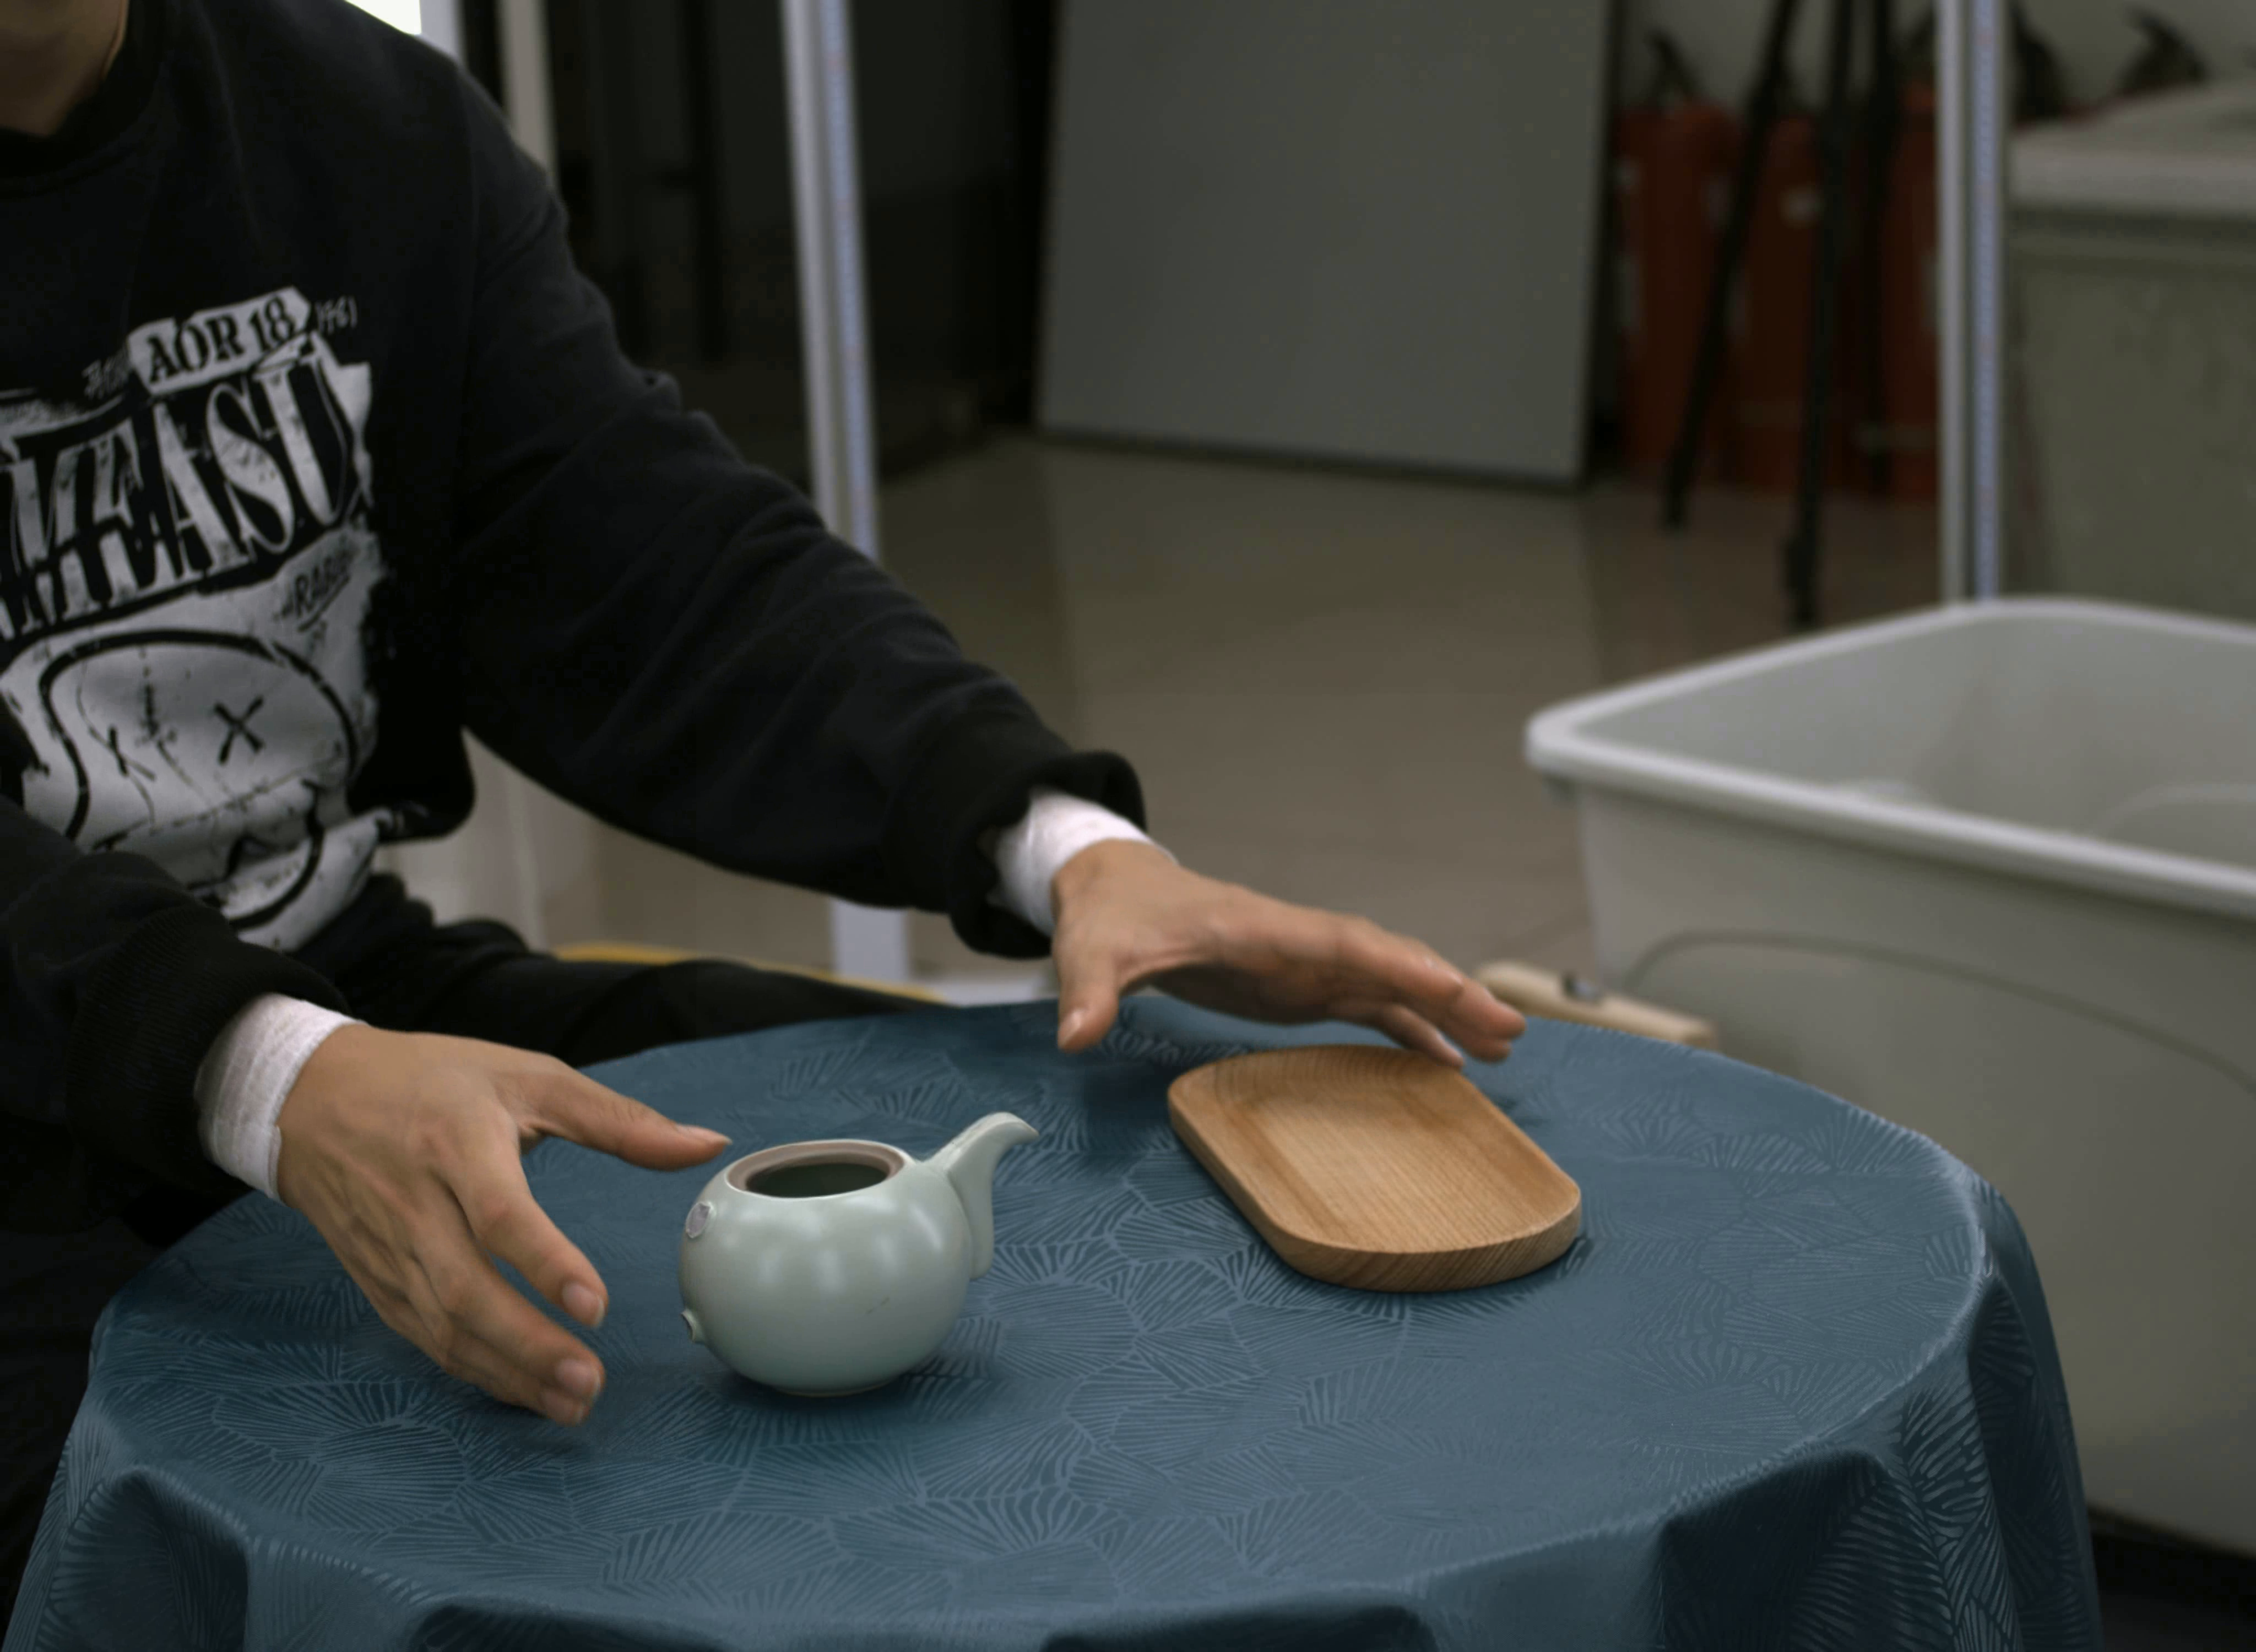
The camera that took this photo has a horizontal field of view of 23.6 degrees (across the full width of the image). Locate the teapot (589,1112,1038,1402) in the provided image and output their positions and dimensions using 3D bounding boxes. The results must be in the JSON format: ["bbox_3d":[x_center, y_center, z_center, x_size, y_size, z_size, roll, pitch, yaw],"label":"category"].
[{"bbox_3d":[-0.091,0.130,1.613,0.141,0.075,0.089,-7,14,-20],"label":"teapot"}]

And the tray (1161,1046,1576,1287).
[{"bbox_3d":[0.077,0.110,1.764,0.100,0.020,0.233,-6,12,-12],"label":"tray"}]
